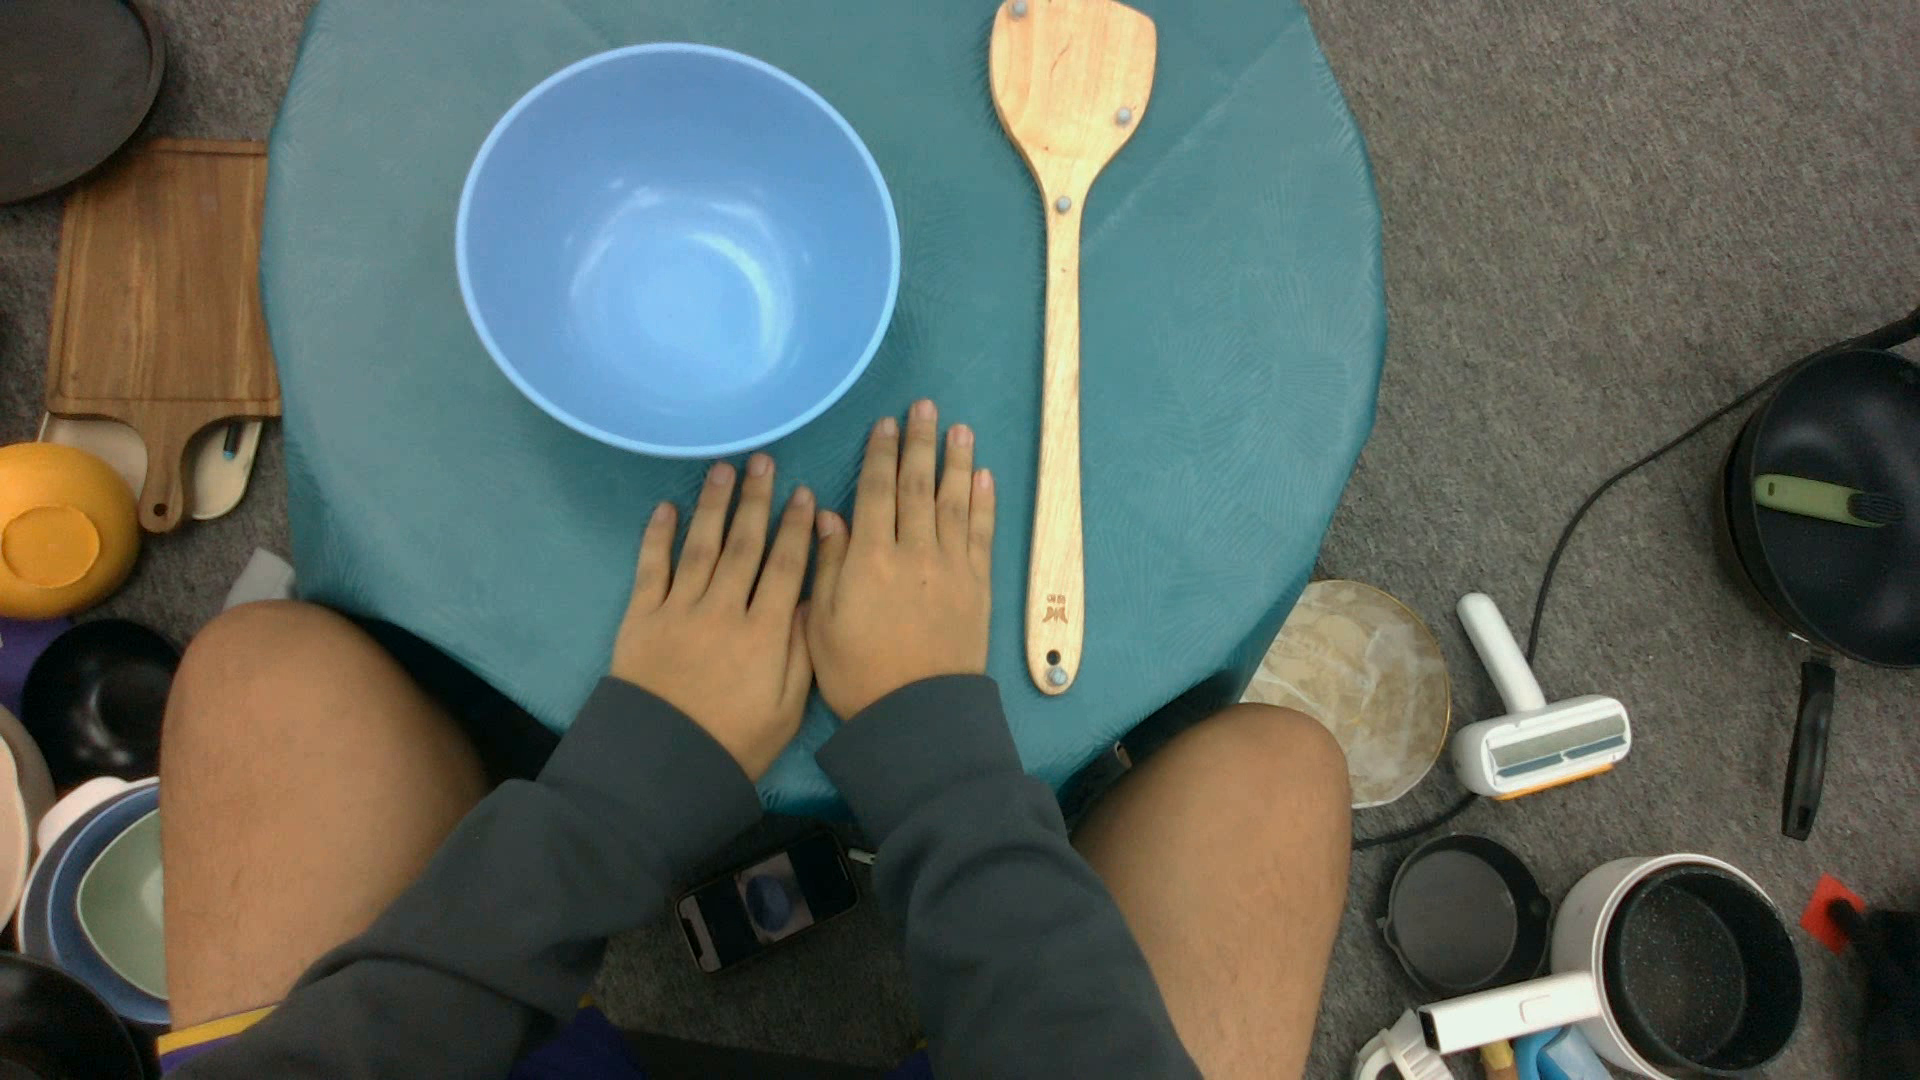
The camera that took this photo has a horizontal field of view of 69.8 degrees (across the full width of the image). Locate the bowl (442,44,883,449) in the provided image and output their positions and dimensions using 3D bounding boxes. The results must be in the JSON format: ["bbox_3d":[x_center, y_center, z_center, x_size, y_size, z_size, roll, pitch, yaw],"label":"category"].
[{"bbox_3d":[-0.142,-0.128,0.670,0.197,0.095,0.197,3,76,-12],"label":"bowl"}]

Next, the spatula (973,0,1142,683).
[{"bbox_3d":[0.051,-0.119,0.742,0.096,0.018,0.391,3,78,-8],"label":"spatula"}]
